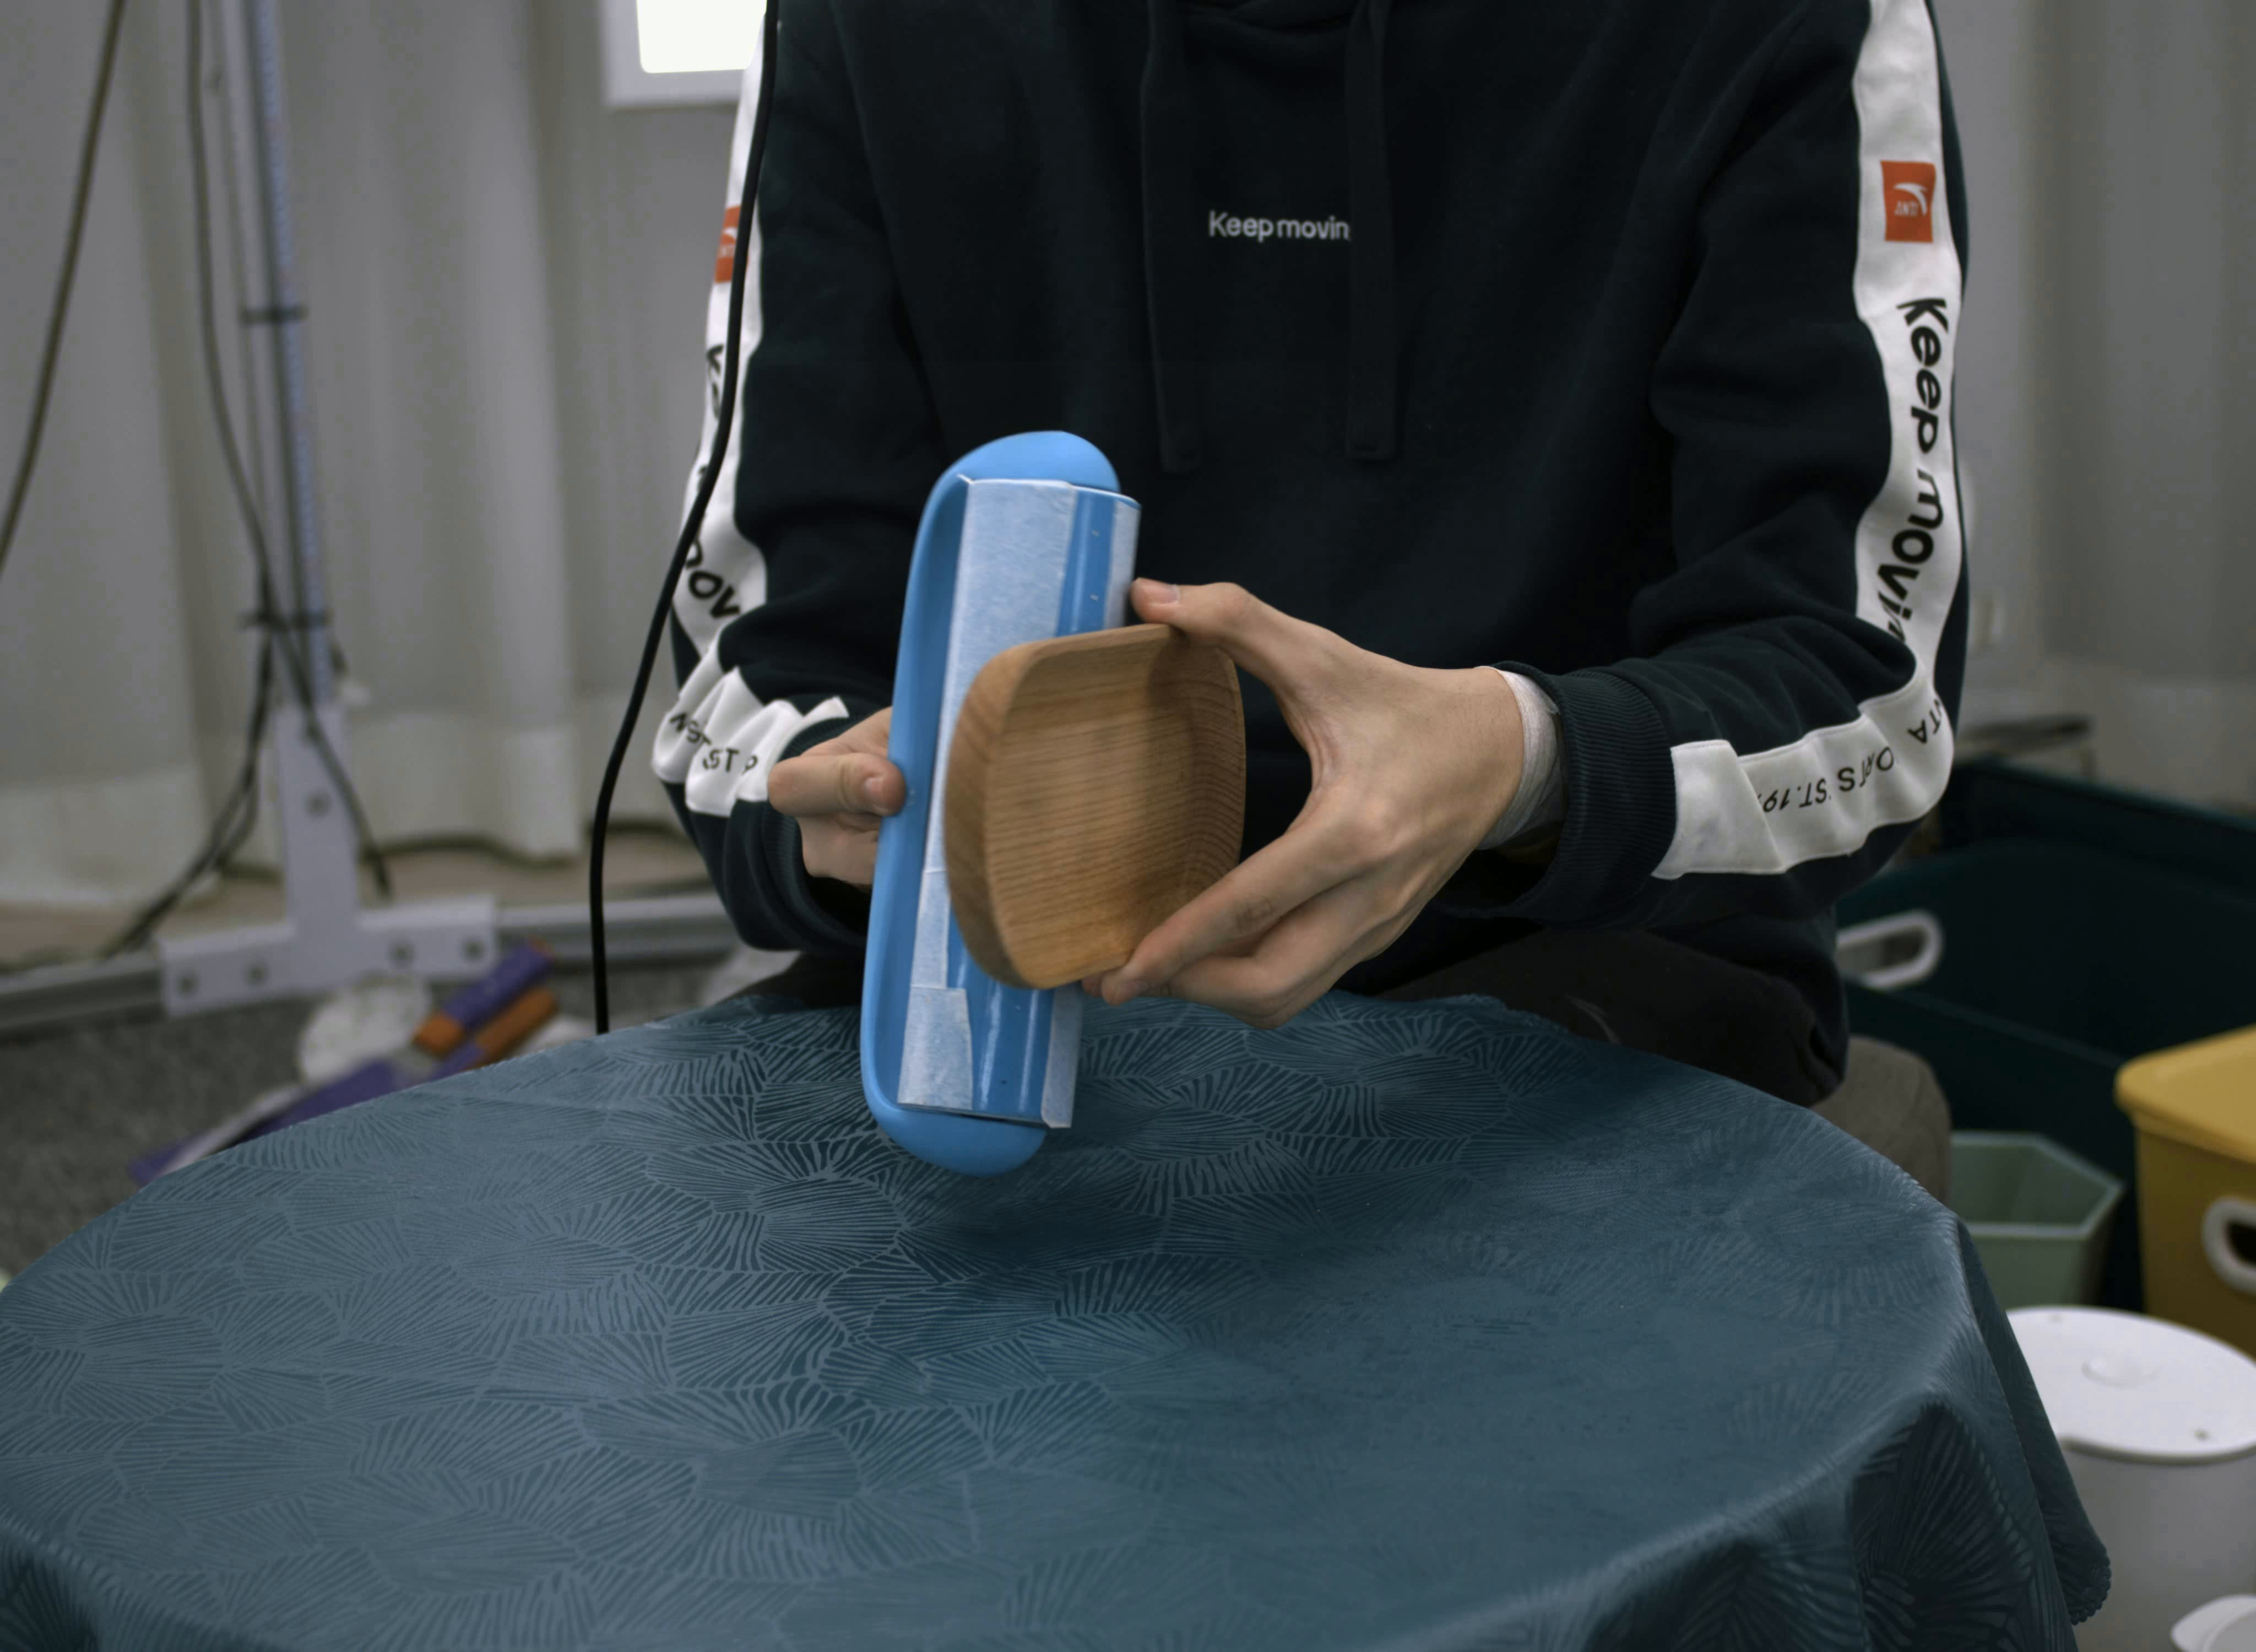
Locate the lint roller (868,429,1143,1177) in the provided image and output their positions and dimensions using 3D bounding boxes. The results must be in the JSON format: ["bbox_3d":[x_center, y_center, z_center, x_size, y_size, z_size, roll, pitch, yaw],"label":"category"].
[{"bbox_3d":[-0.045,-0.003,1.726,0.067,0.230,0.180,6,-7,-11],"label":"lint roller"}]

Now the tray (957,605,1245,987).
[{"bbox_3d":[-0.005,-0.011,1.629,0.020,0.102,0.231,3,7,17],"label":"tray"}]
